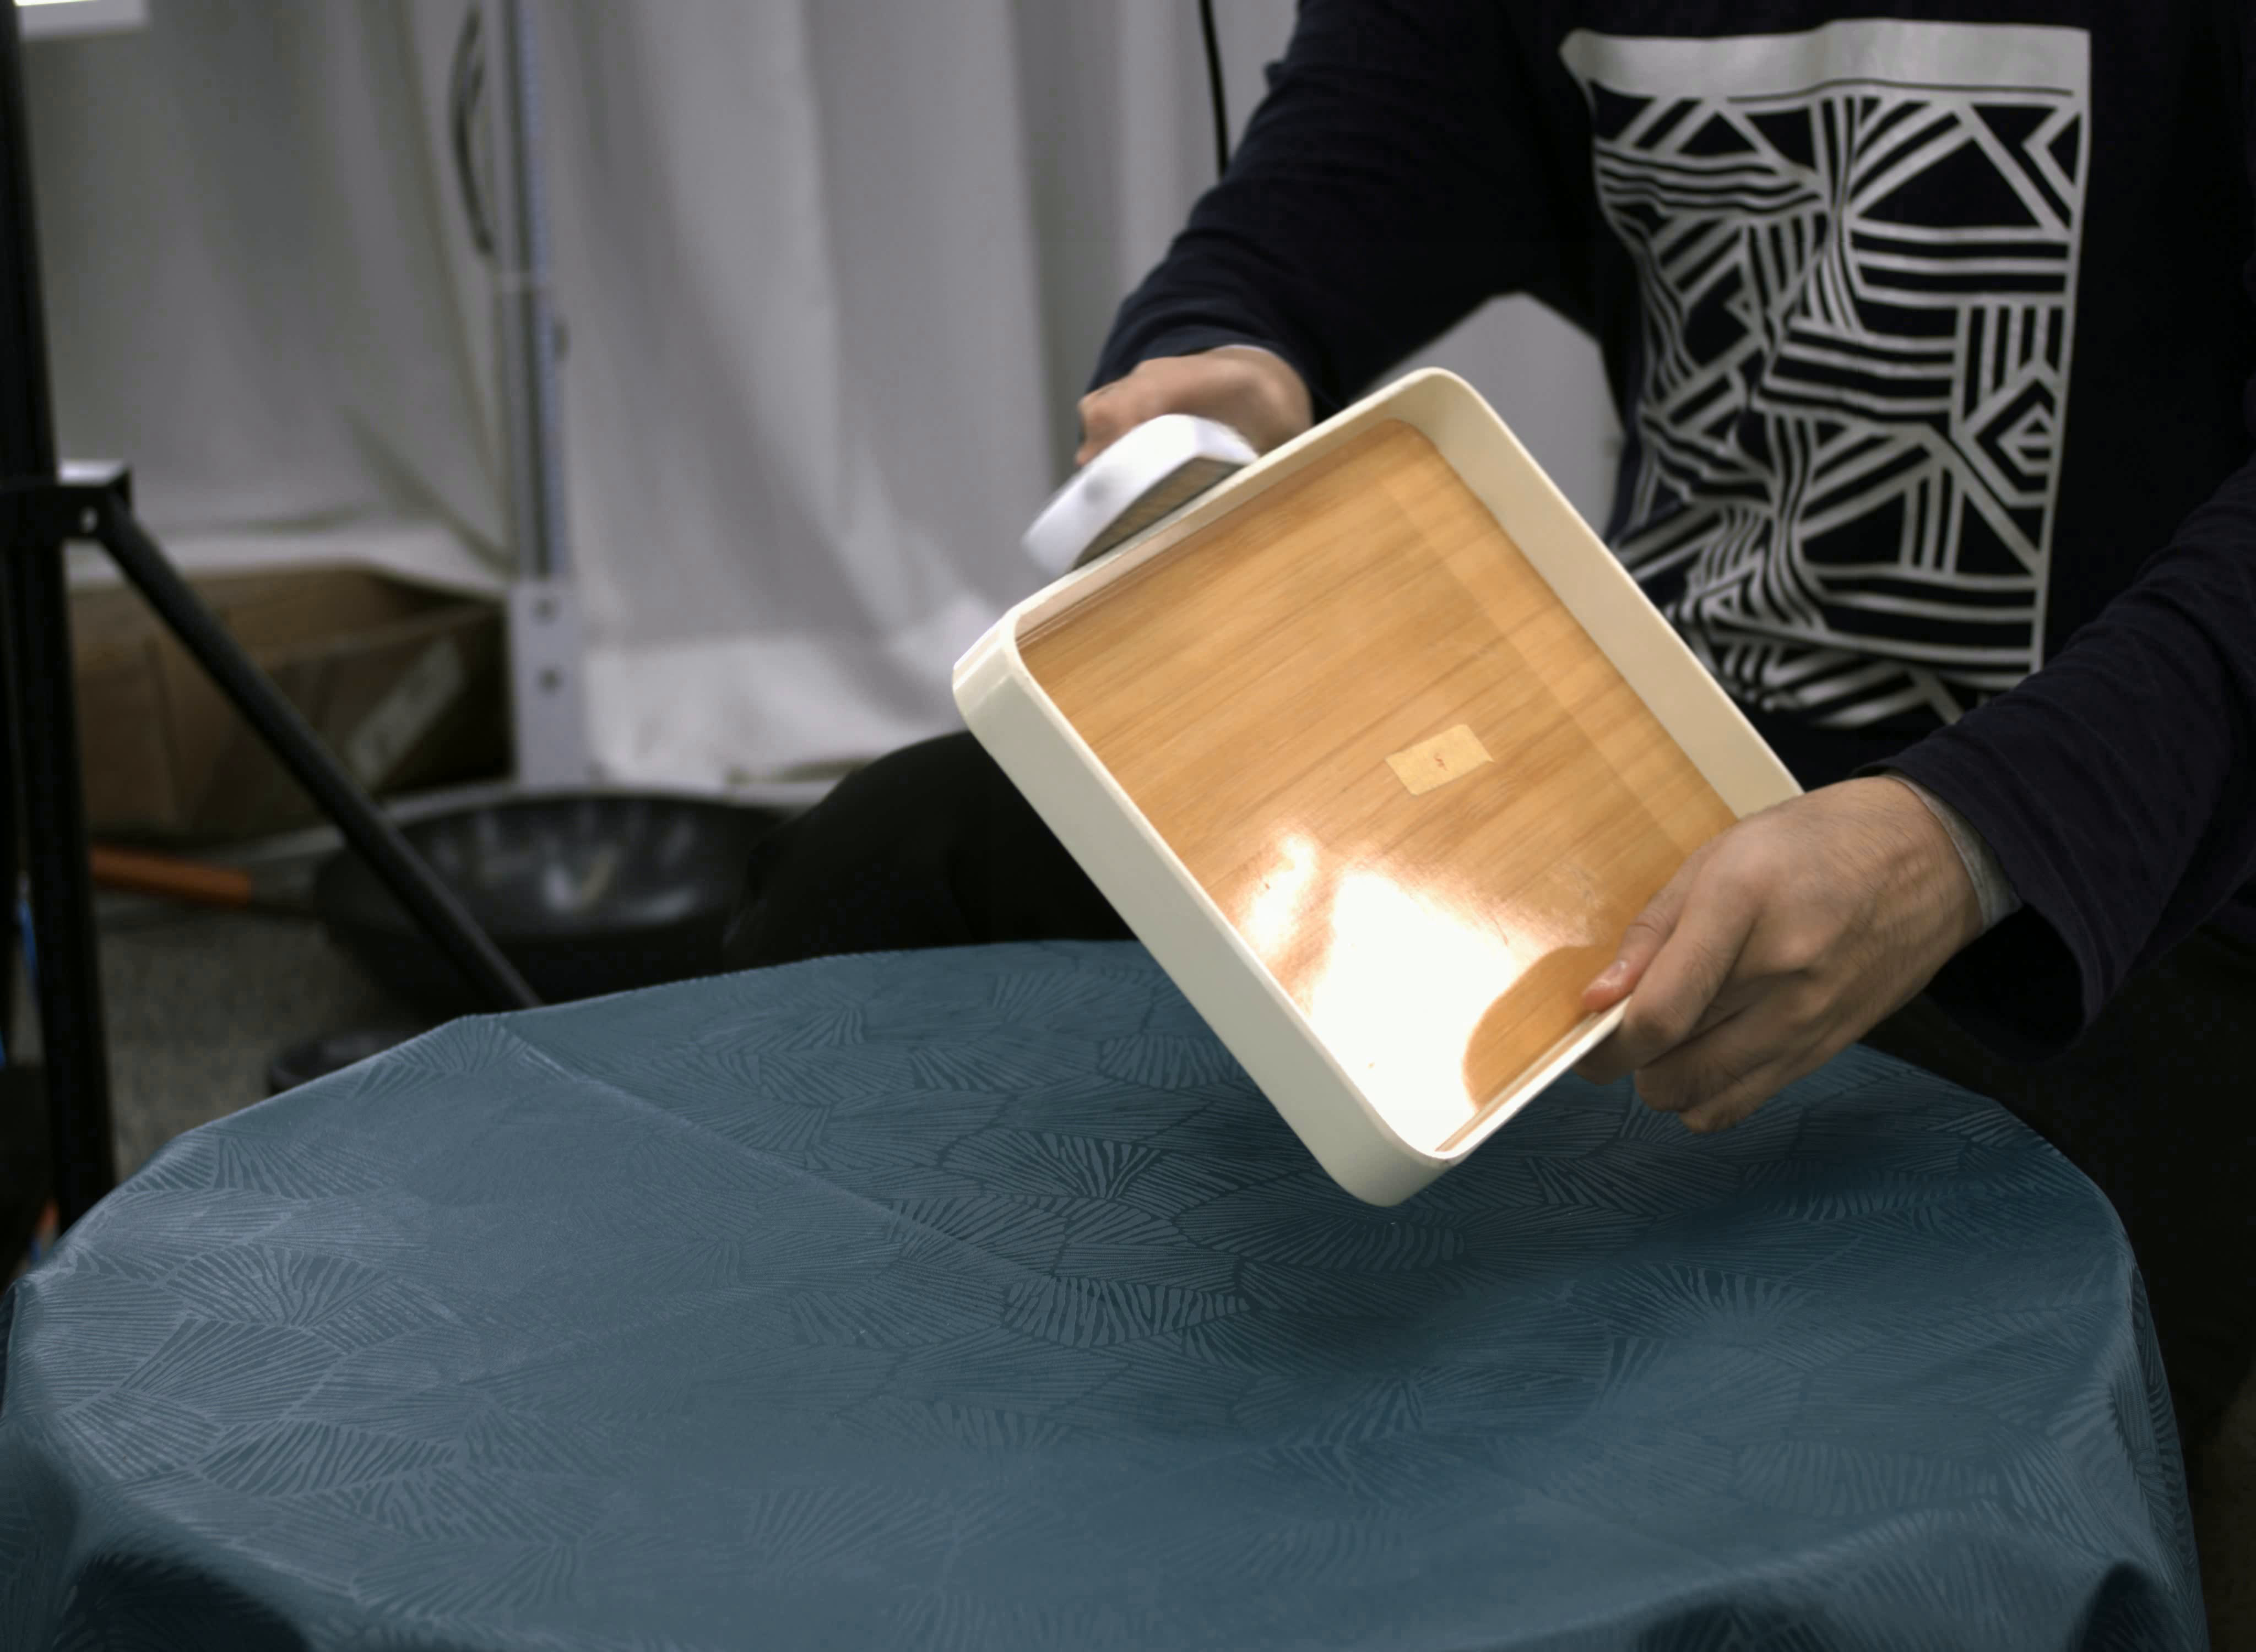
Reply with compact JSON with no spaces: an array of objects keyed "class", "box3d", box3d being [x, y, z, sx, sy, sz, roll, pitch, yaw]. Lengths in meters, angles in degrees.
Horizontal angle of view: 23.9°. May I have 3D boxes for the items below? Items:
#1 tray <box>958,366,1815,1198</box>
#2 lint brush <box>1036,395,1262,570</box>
[{"class":"tray","box3d":[0.082,-0.020,1.517,0.028,0.192,0.295,-42,-6,33]},{"class":"lint brush","box3d":[0.017,-0.100,1.593,0.021,0.060,0.306,45,7,4]}]
